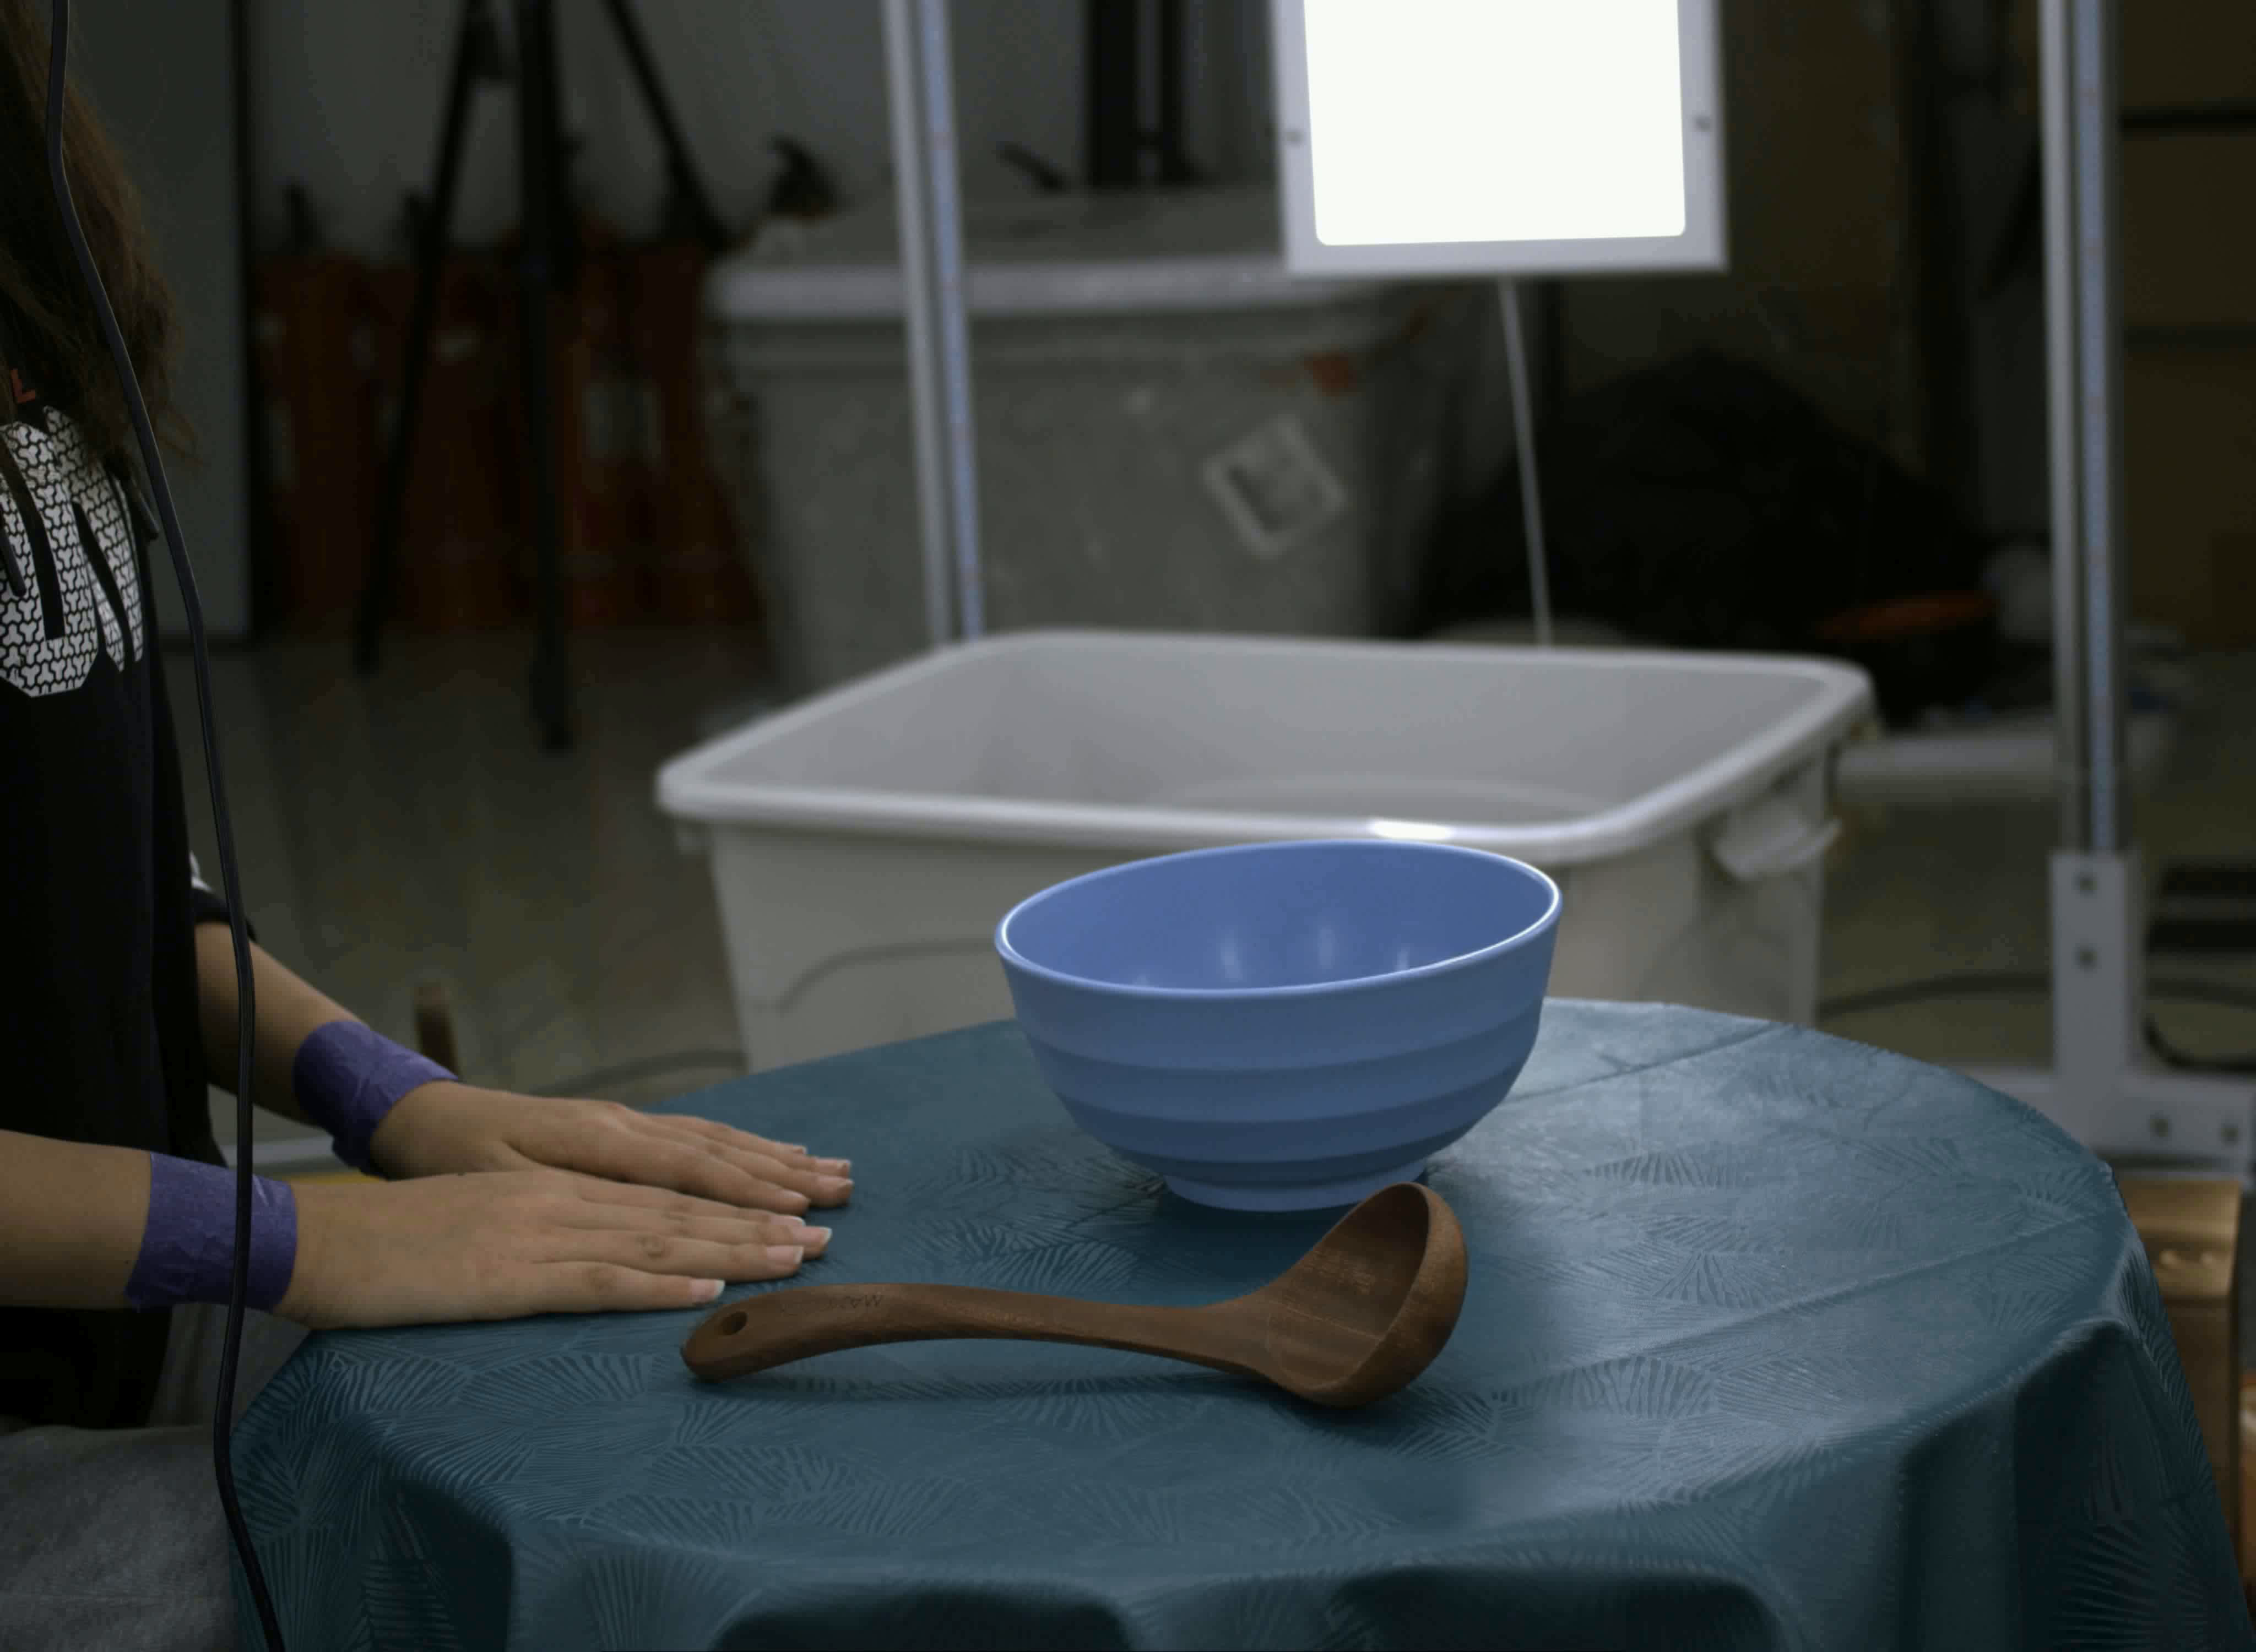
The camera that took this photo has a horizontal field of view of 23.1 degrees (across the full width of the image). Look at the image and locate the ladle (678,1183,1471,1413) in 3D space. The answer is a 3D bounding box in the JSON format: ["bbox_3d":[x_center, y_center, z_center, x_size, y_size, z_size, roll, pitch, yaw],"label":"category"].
[{"bbox_3d":[-0.021,0.146,1.700,0.263,0.065,0.076,-1,42,16],"label":"ladle"}]

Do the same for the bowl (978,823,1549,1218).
[{"bbox_3d":[0.048,0.074,1.898,0.196,0.096,0.196,-3,19,0],"label":"bowl"}]
